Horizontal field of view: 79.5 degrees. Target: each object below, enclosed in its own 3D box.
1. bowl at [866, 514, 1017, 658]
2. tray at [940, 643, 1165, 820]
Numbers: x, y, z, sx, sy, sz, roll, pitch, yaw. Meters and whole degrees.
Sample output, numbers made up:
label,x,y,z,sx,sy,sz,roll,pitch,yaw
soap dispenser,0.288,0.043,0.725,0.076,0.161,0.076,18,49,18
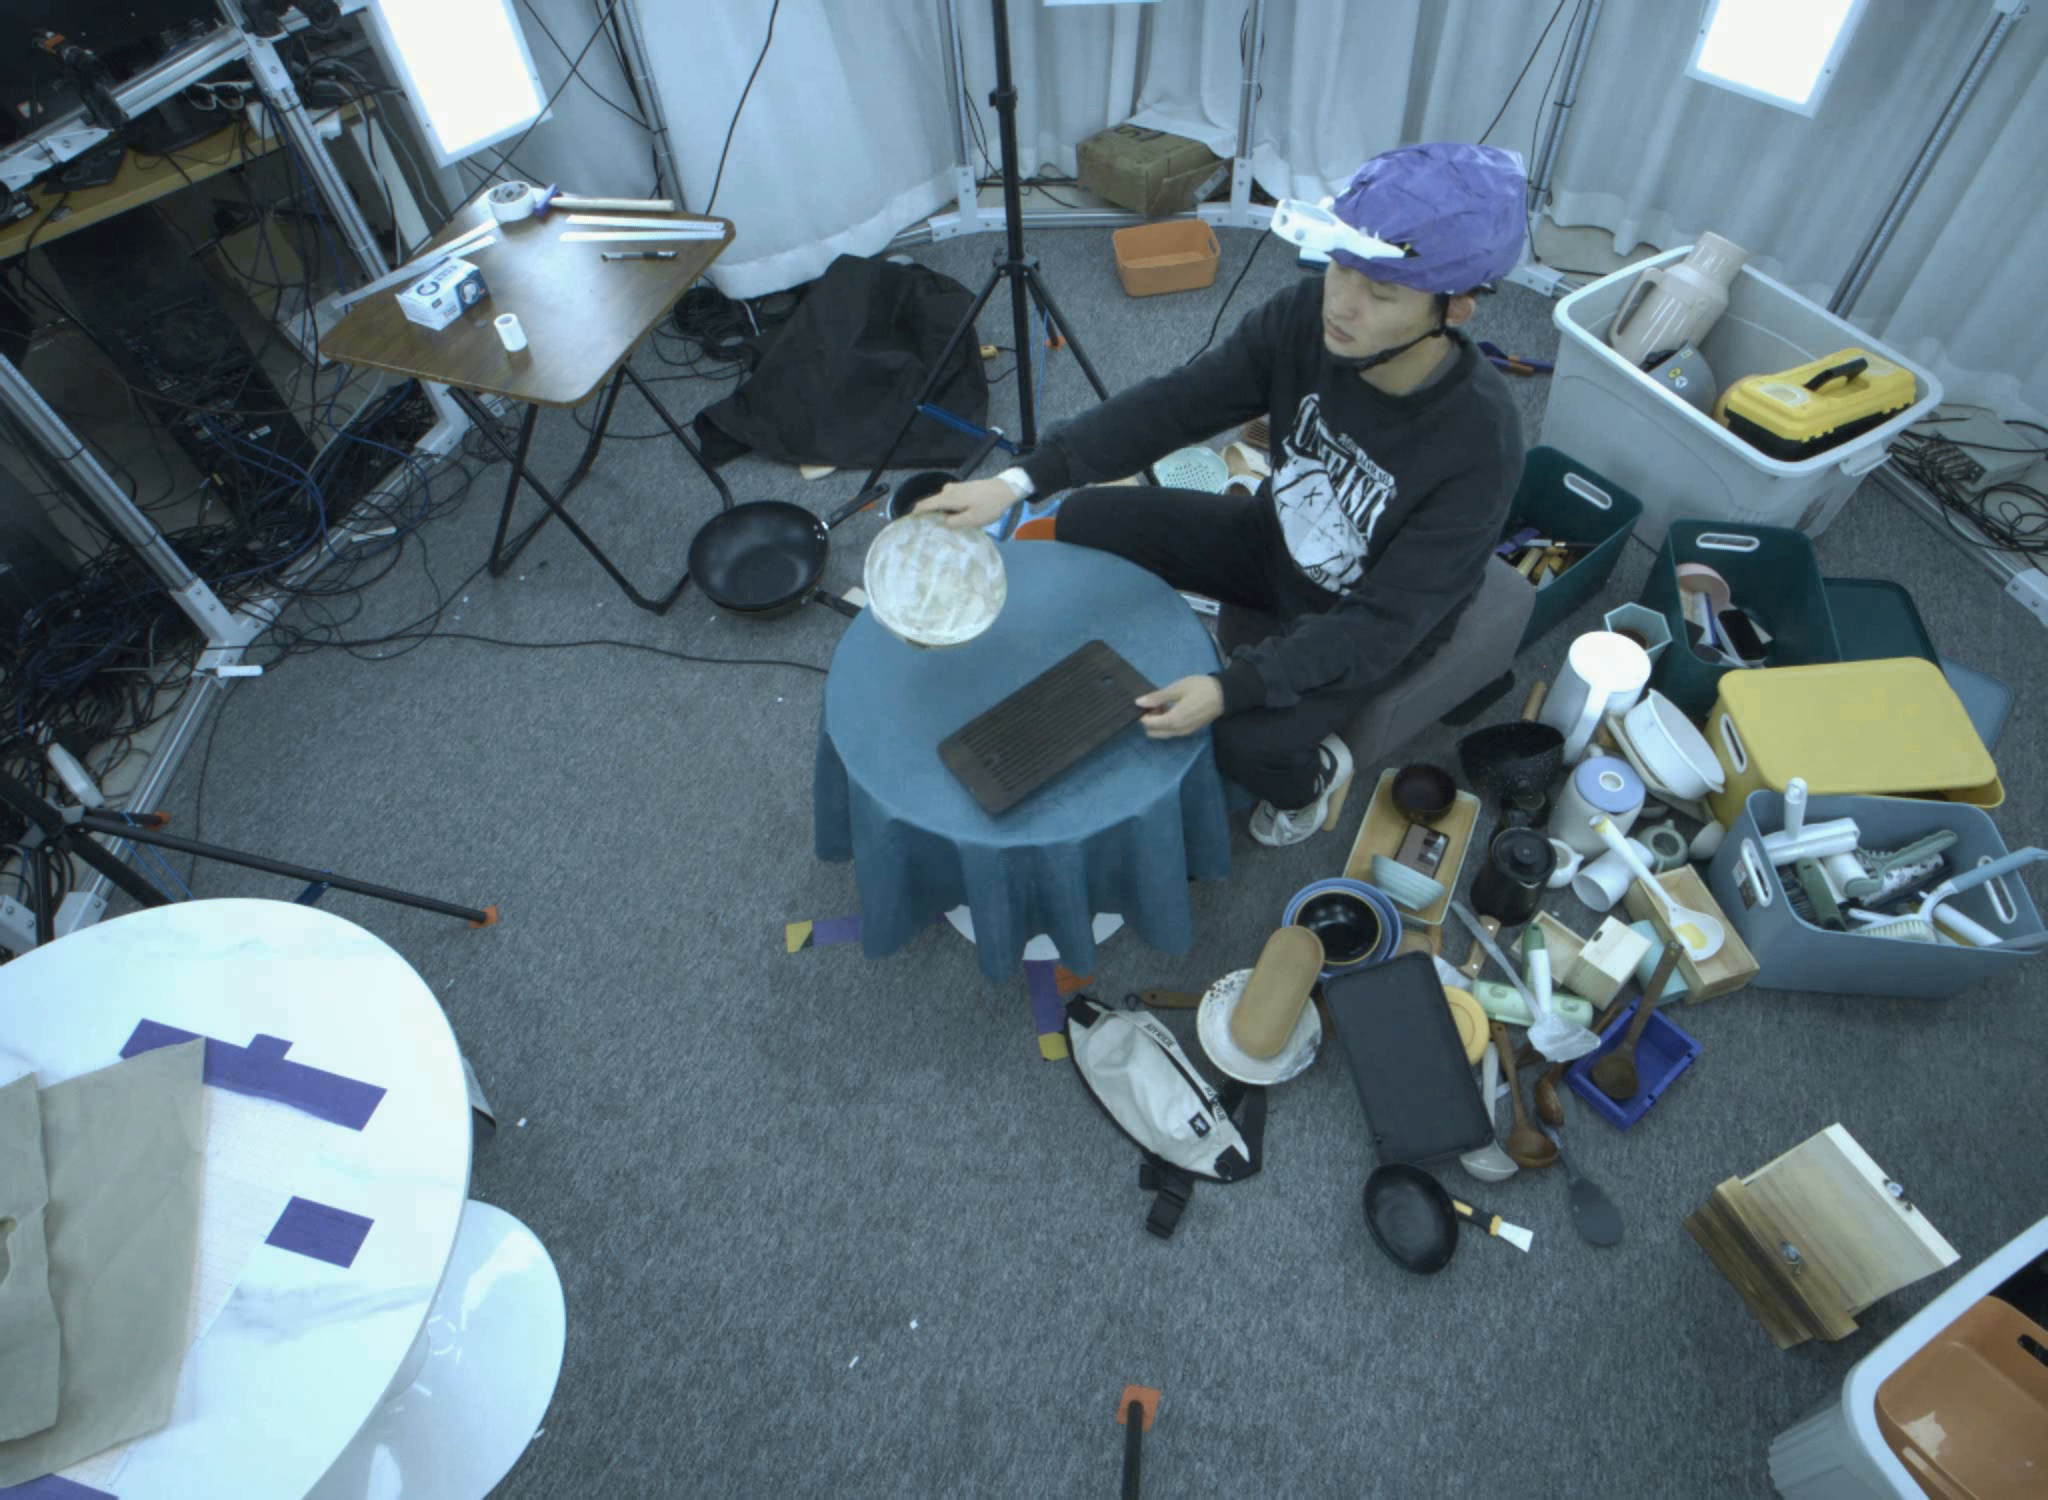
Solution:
label,x,y,z,sx,sy,sz,roll,pitch,yaw
bowl,-0.124,-0.221,1.744,0.217,0.094,0.213,4,76,-16
tray,0.041,-0.030,1.779,0.307,0.019,0.166,-35,53,-14
